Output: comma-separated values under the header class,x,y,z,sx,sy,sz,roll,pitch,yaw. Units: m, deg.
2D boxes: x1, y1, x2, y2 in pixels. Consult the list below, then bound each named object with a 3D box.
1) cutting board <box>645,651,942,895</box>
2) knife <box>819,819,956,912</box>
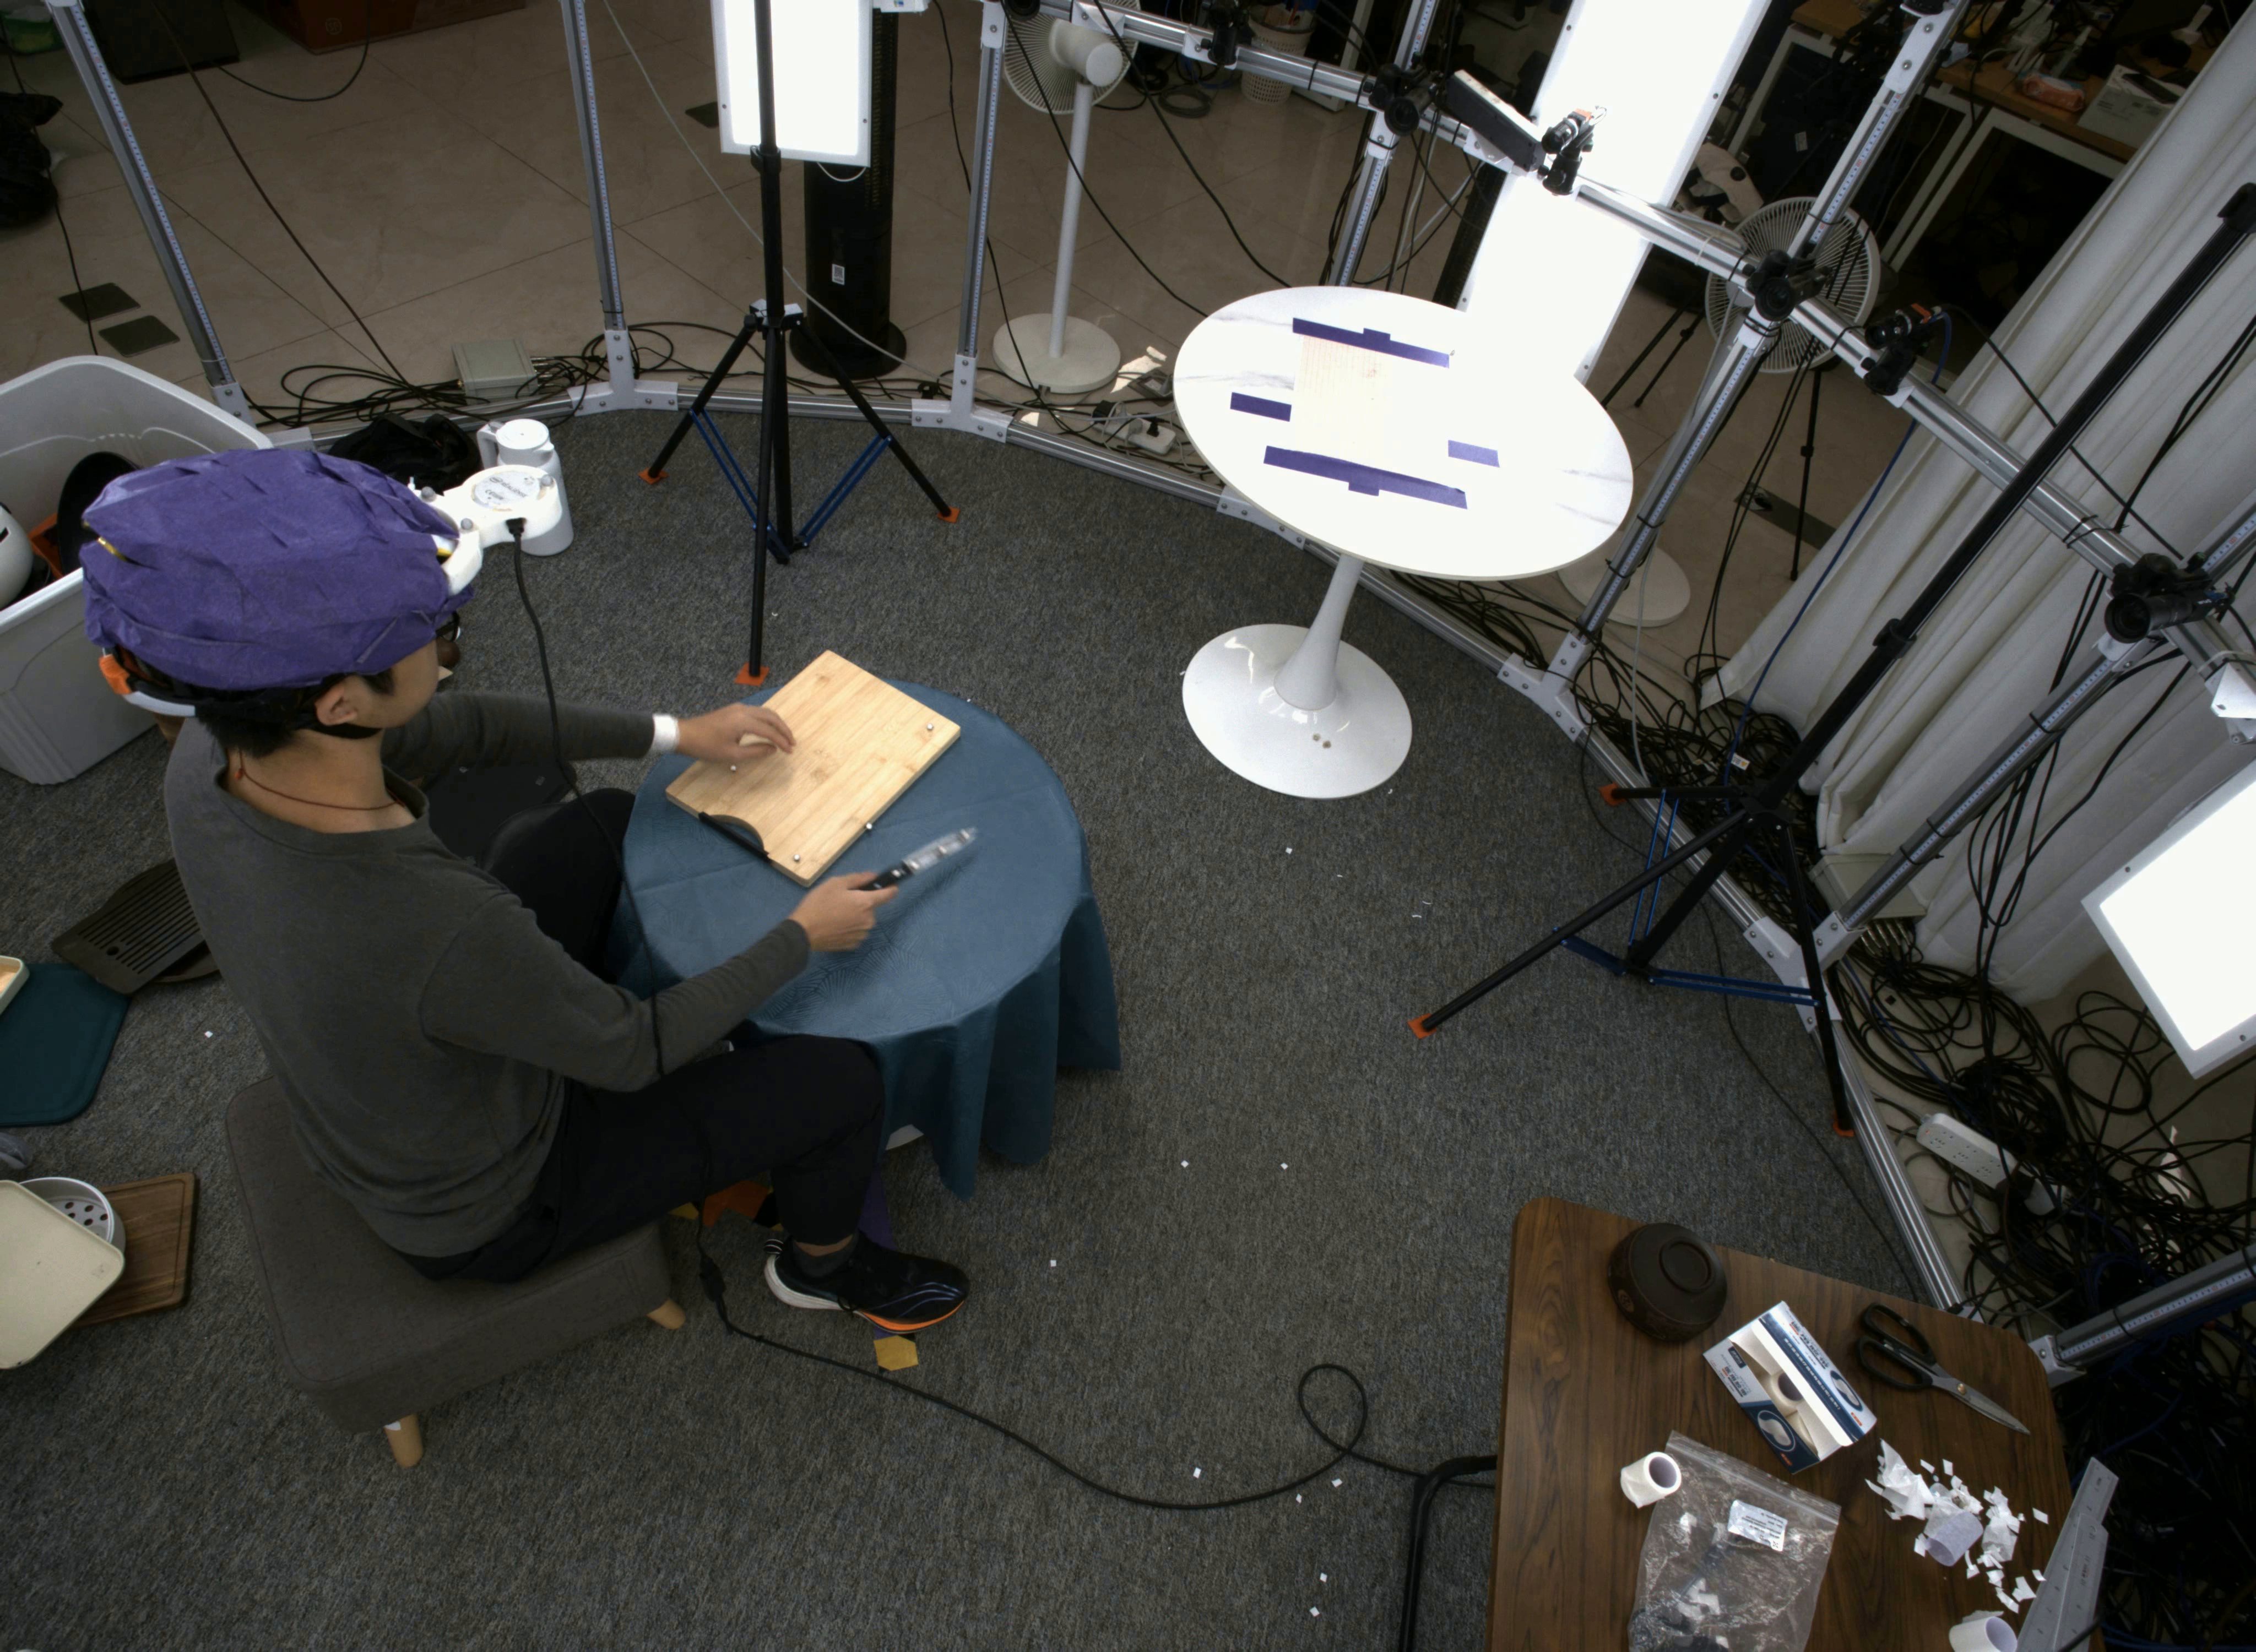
class,x,y,z,sx,sy,sz,roll,pitch,yaw
cutting board,-0.450,-0.083,1.780,0.246,0.024,0.347,29,53,9
knife,-0.301,0.046,1.665,0.024,0.016,0.239,51,48,2
